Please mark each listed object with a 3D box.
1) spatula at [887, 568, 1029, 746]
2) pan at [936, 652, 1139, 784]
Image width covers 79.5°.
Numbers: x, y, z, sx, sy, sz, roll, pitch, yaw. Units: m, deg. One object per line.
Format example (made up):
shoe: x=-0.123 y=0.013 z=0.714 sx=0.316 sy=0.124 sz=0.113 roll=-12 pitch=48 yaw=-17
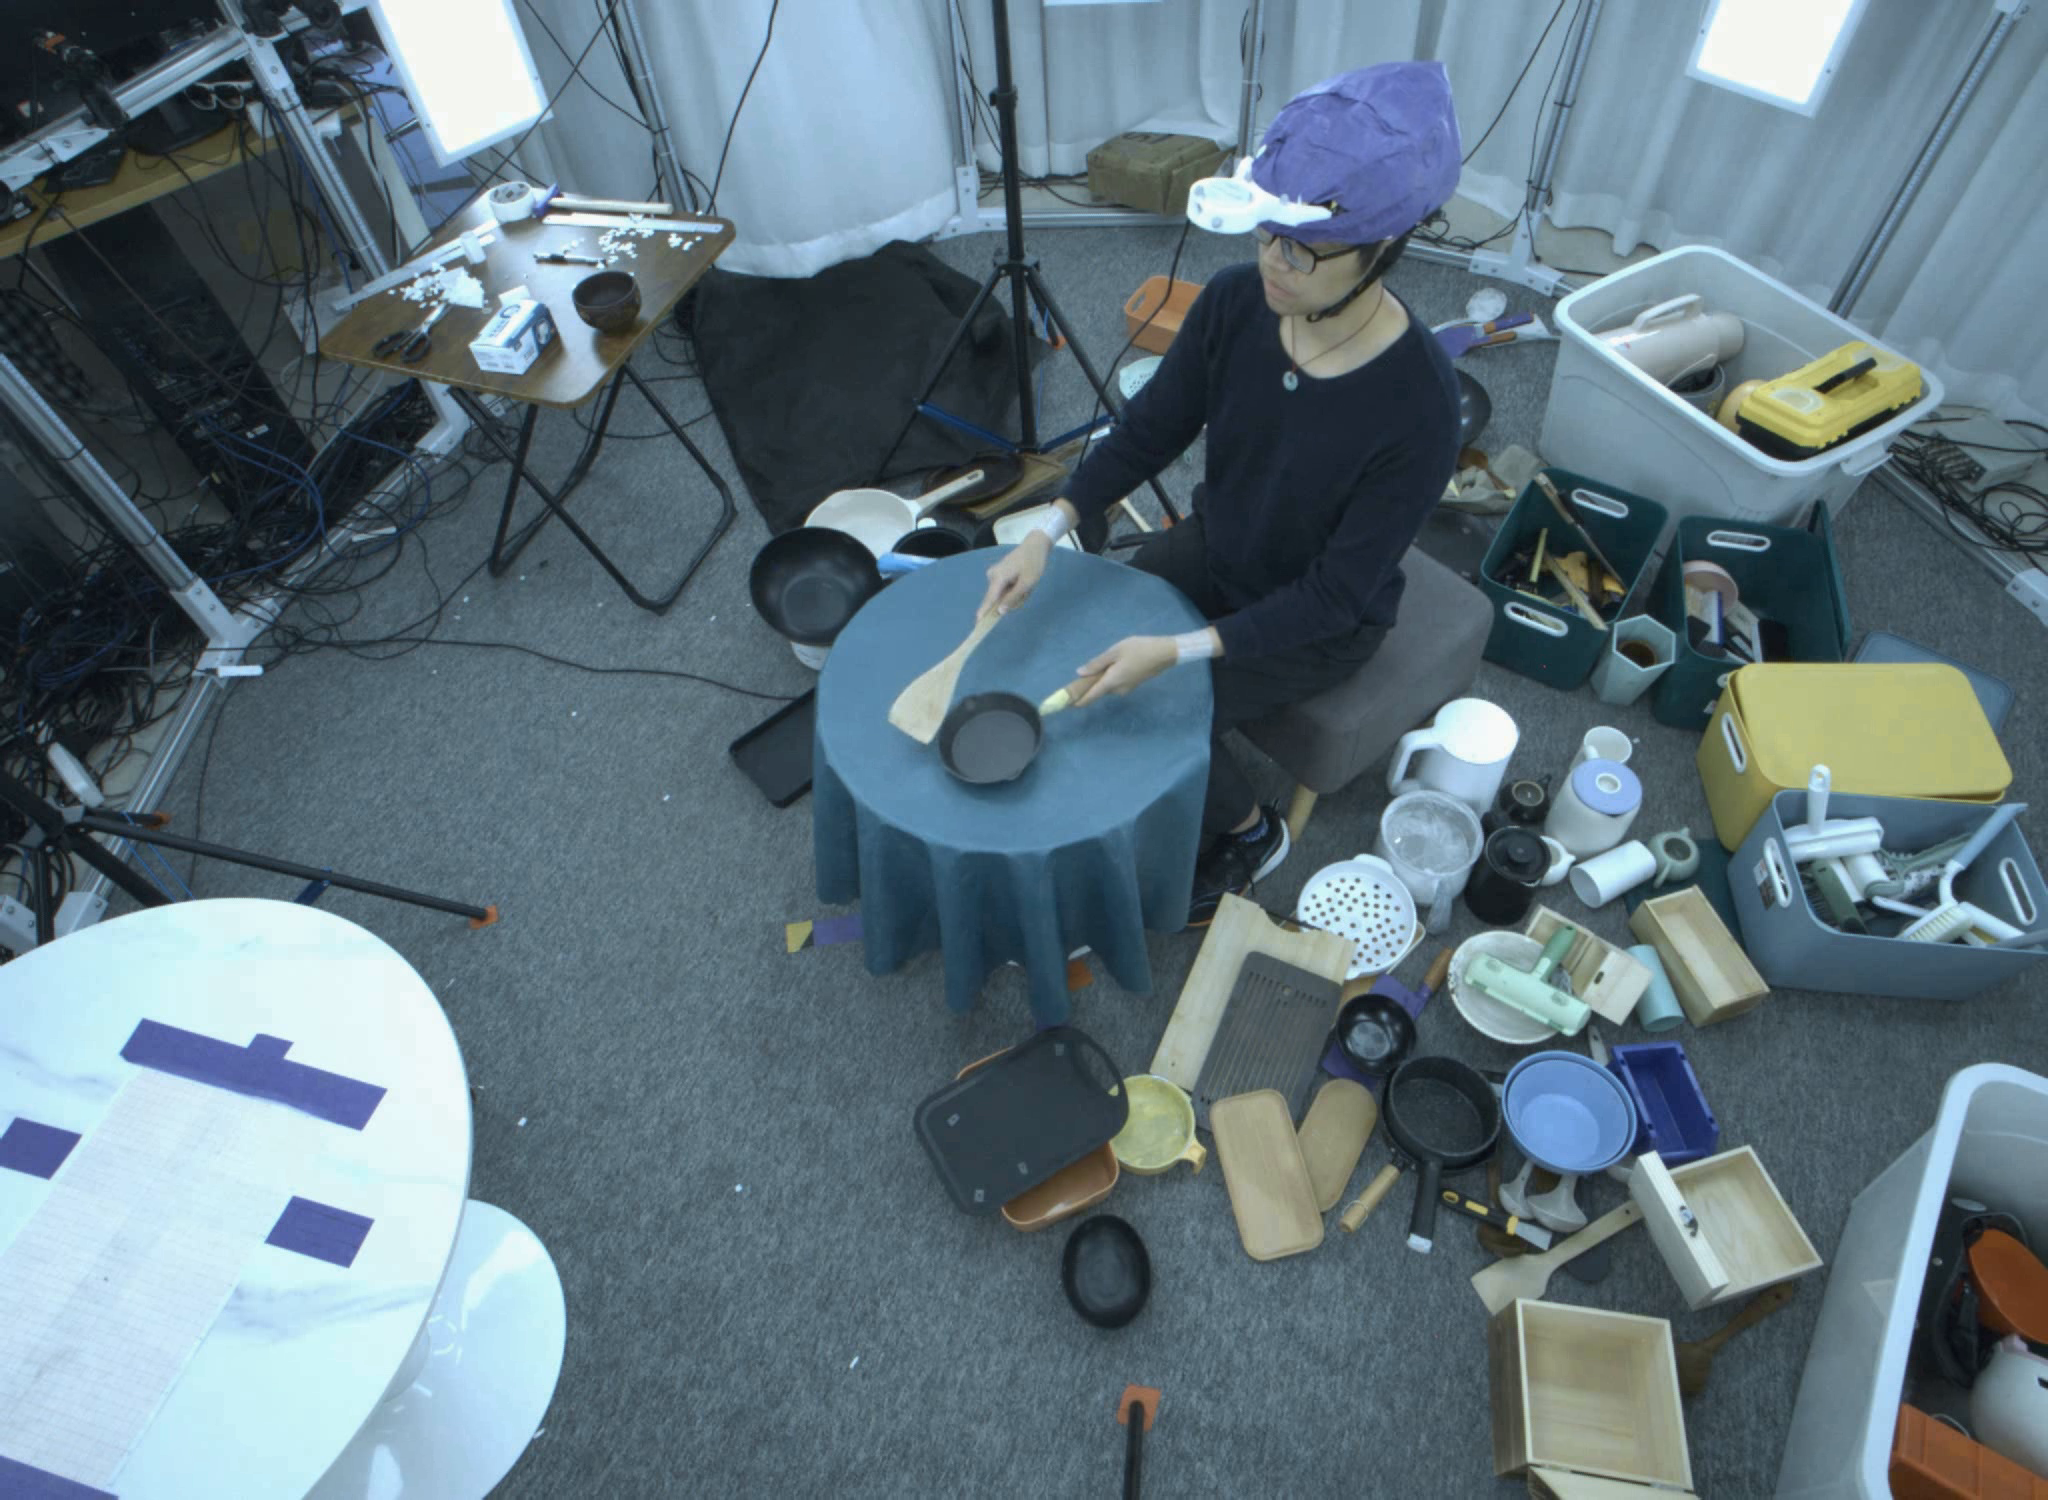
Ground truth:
spatula: x=-0.085 y=-0.144 z=1.799 sx=0.328 sy=0.081 sz=0.016 roll=-55 pitch=26 yaw=-19
pan: x=0.027 y=-0.055 z=1.770 sx=0.325 sy=0.050 sz=0.166 roll=-27 pitch=57 yaw=-5
